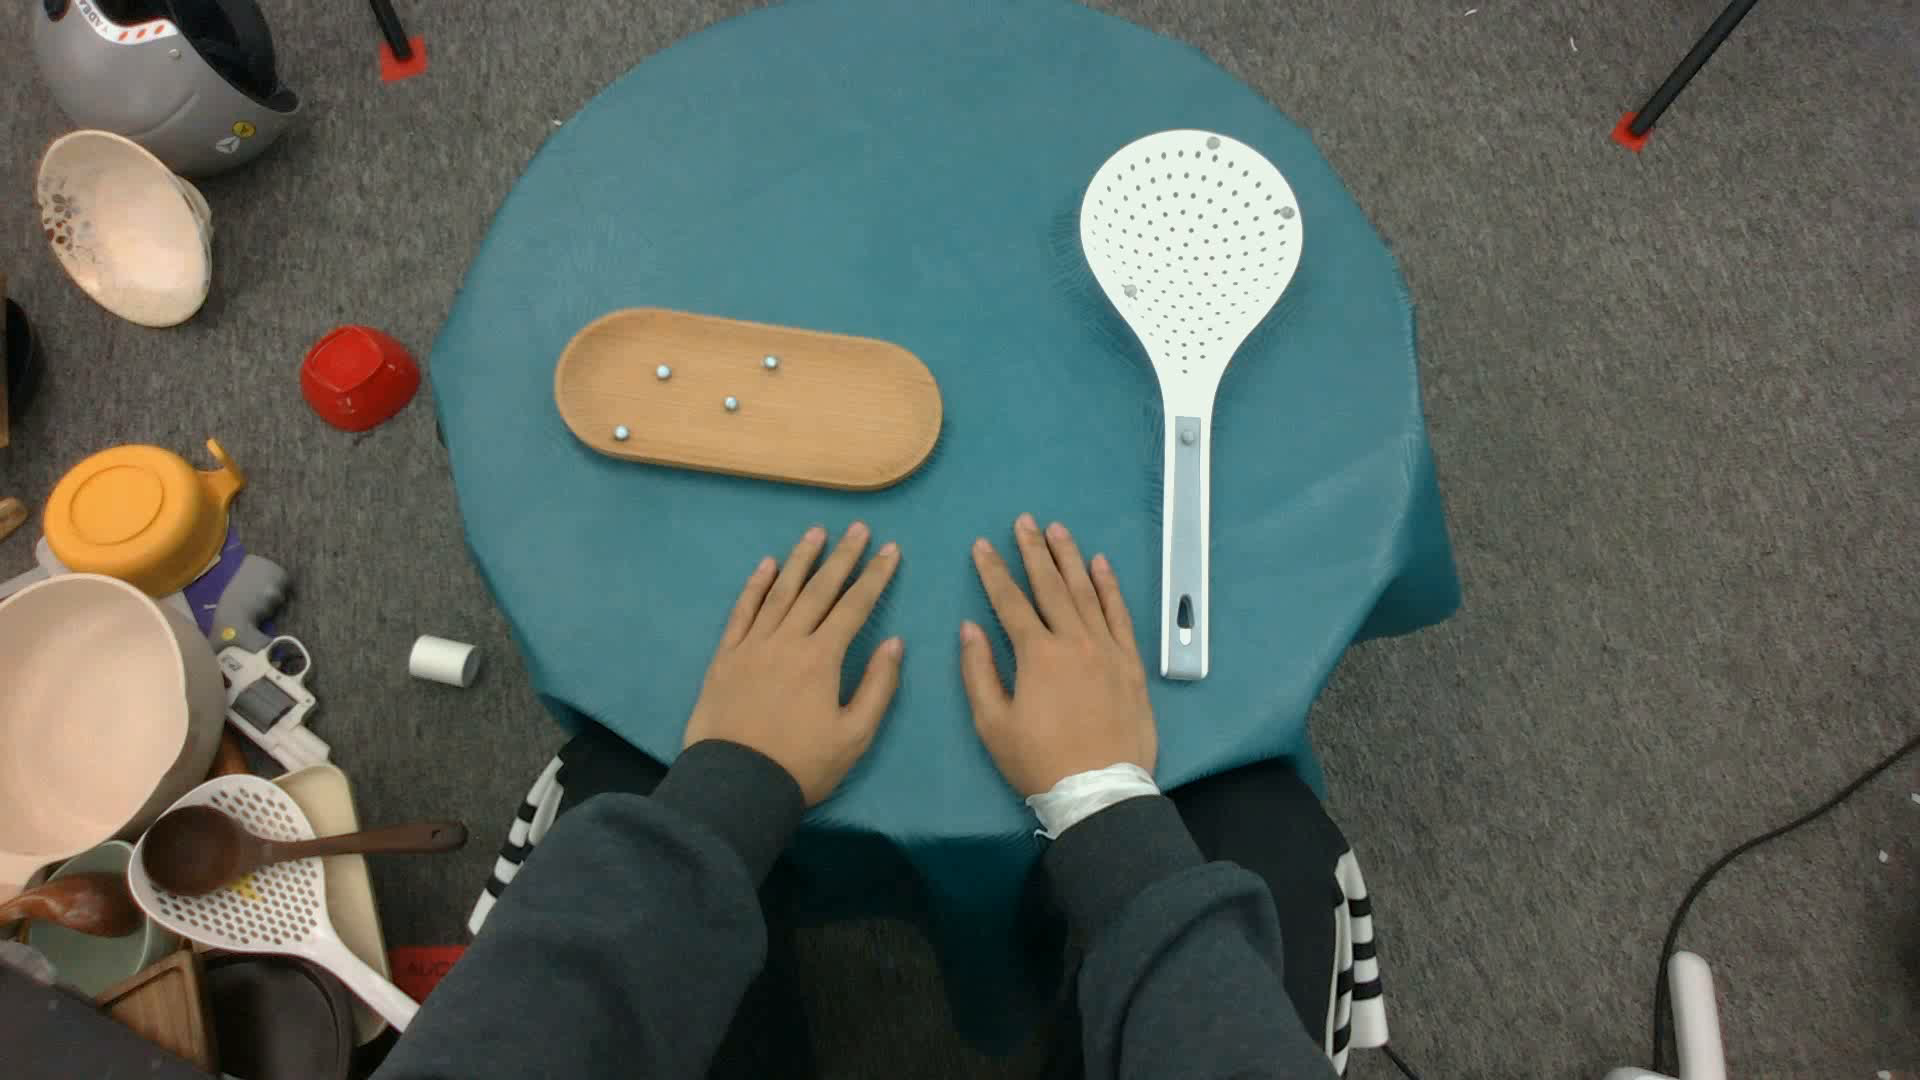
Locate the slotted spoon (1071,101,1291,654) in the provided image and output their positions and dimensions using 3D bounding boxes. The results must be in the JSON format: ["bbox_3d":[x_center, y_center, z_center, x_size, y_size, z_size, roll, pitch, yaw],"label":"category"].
[{"bbox_3d":[0.130,-0.104,0.824,0.136,0.045,0.351,3,69,0],"label":"slotted spoon"}]

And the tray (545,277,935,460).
[{"bbox_3d":[-0.130,-0.102,0.821,0.231,0.020,0.102,7,70,-2],"label":"tray"}]
